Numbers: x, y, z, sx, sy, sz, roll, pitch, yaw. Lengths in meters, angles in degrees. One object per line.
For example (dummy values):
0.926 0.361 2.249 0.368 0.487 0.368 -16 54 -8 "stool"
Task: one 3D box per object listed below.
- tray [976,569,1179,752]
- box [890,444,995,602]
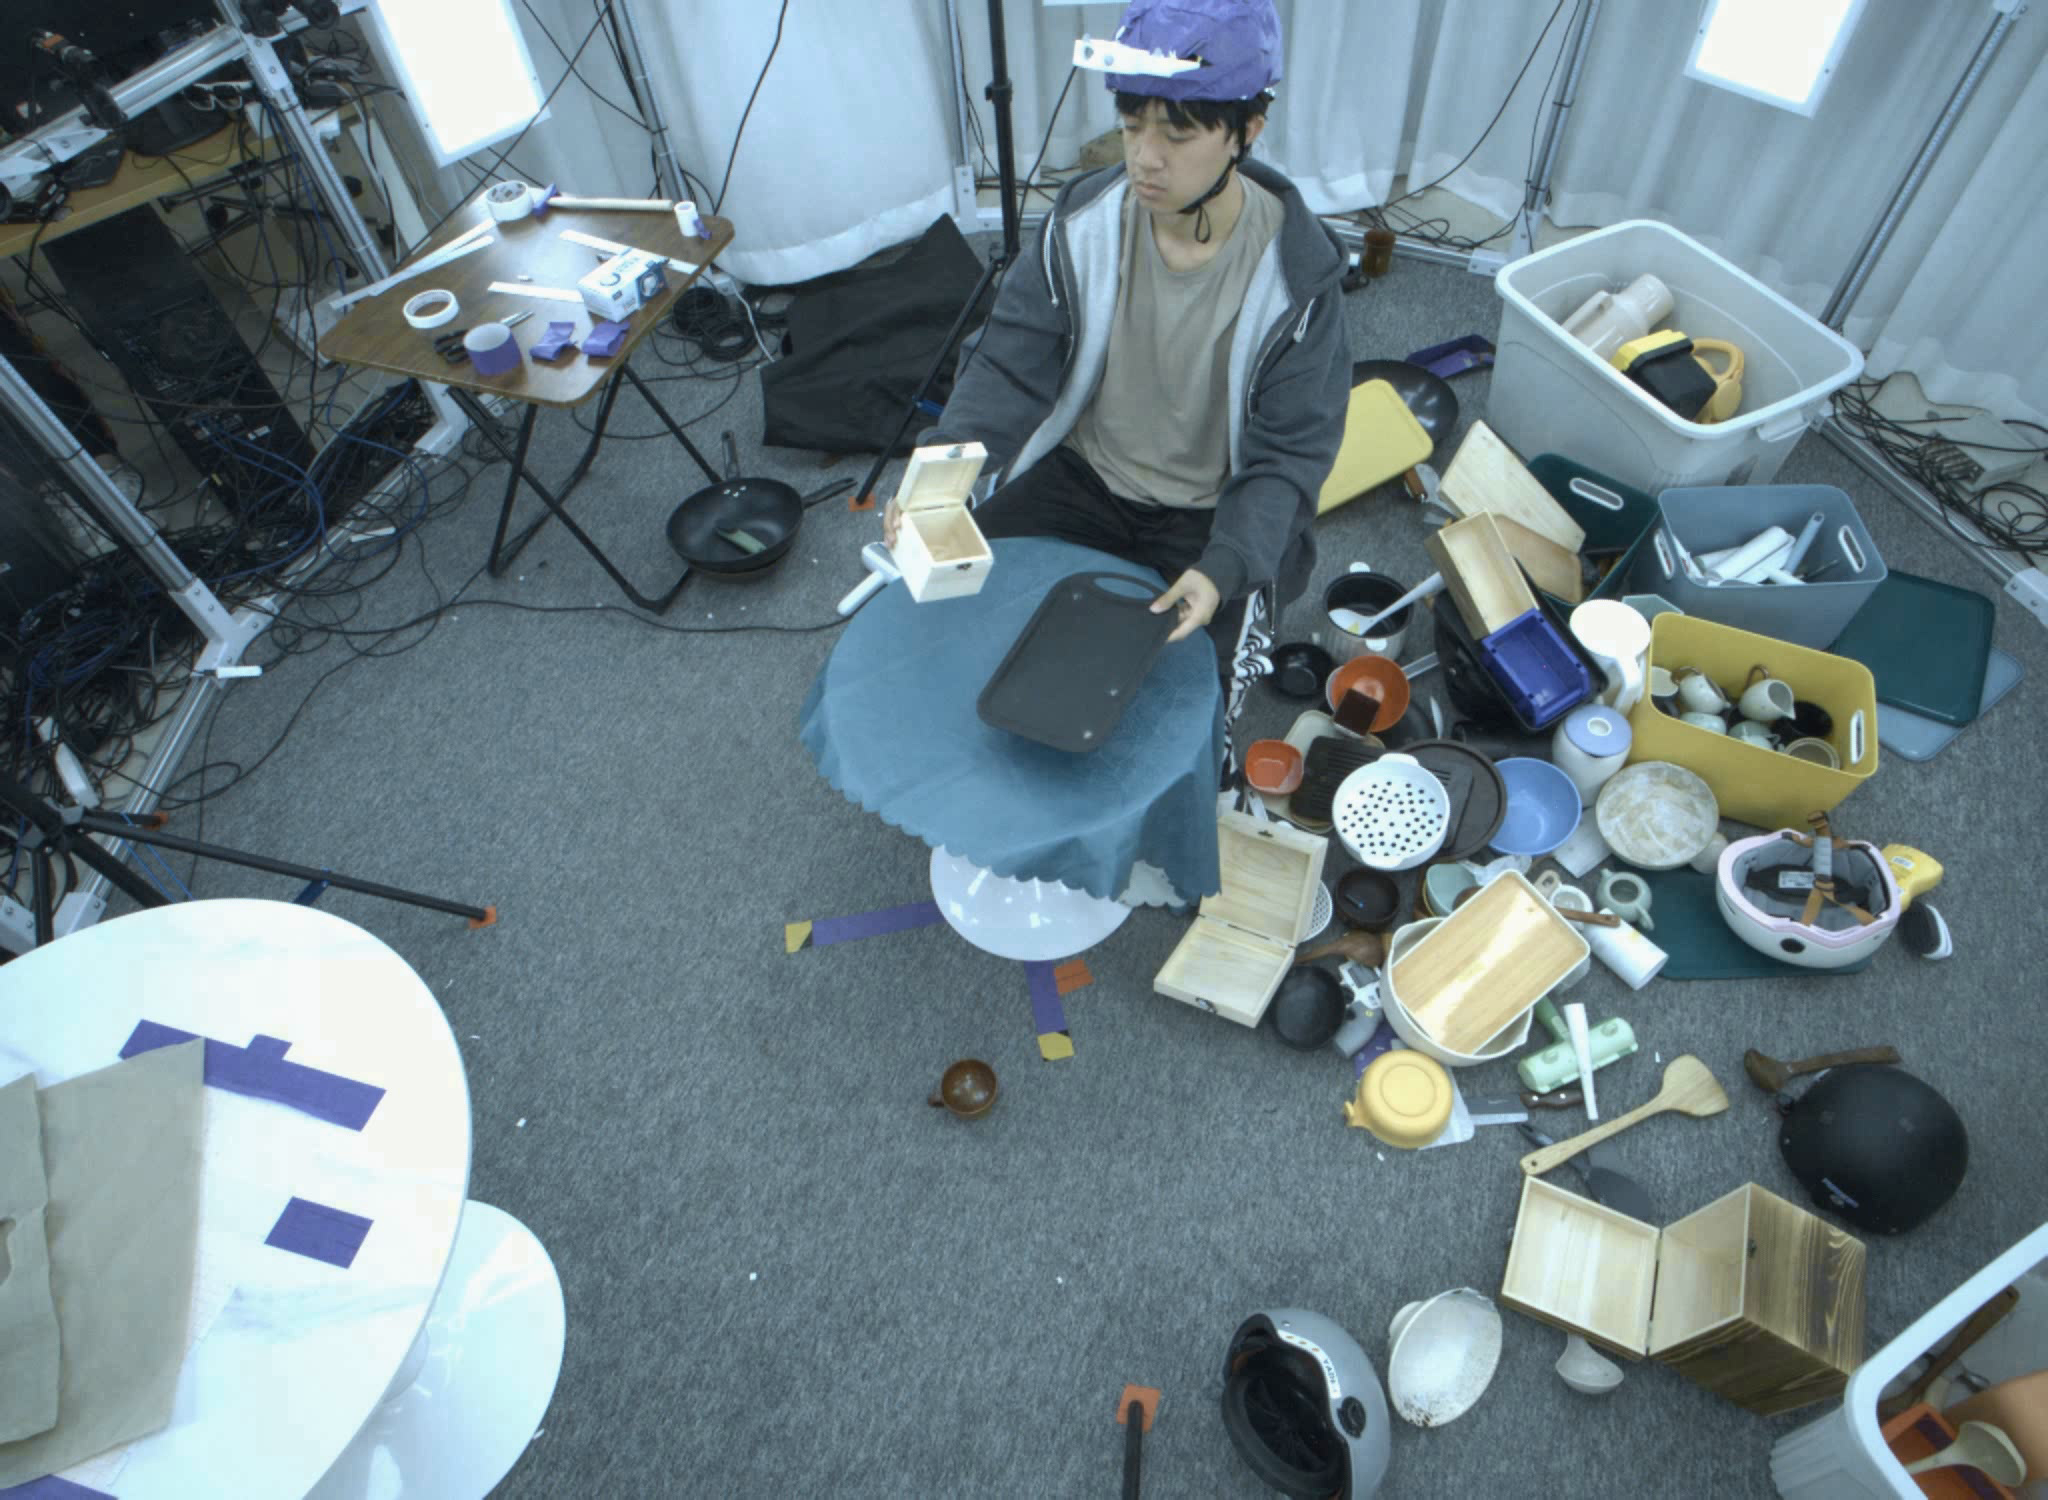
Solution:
0.082 -0.143 1.775 0.207 0.010 0.326 20 62 24 "tray"
-0.103 -0.312 1.677 0.104 0.184 0.132 -15 64 -32 "box"
